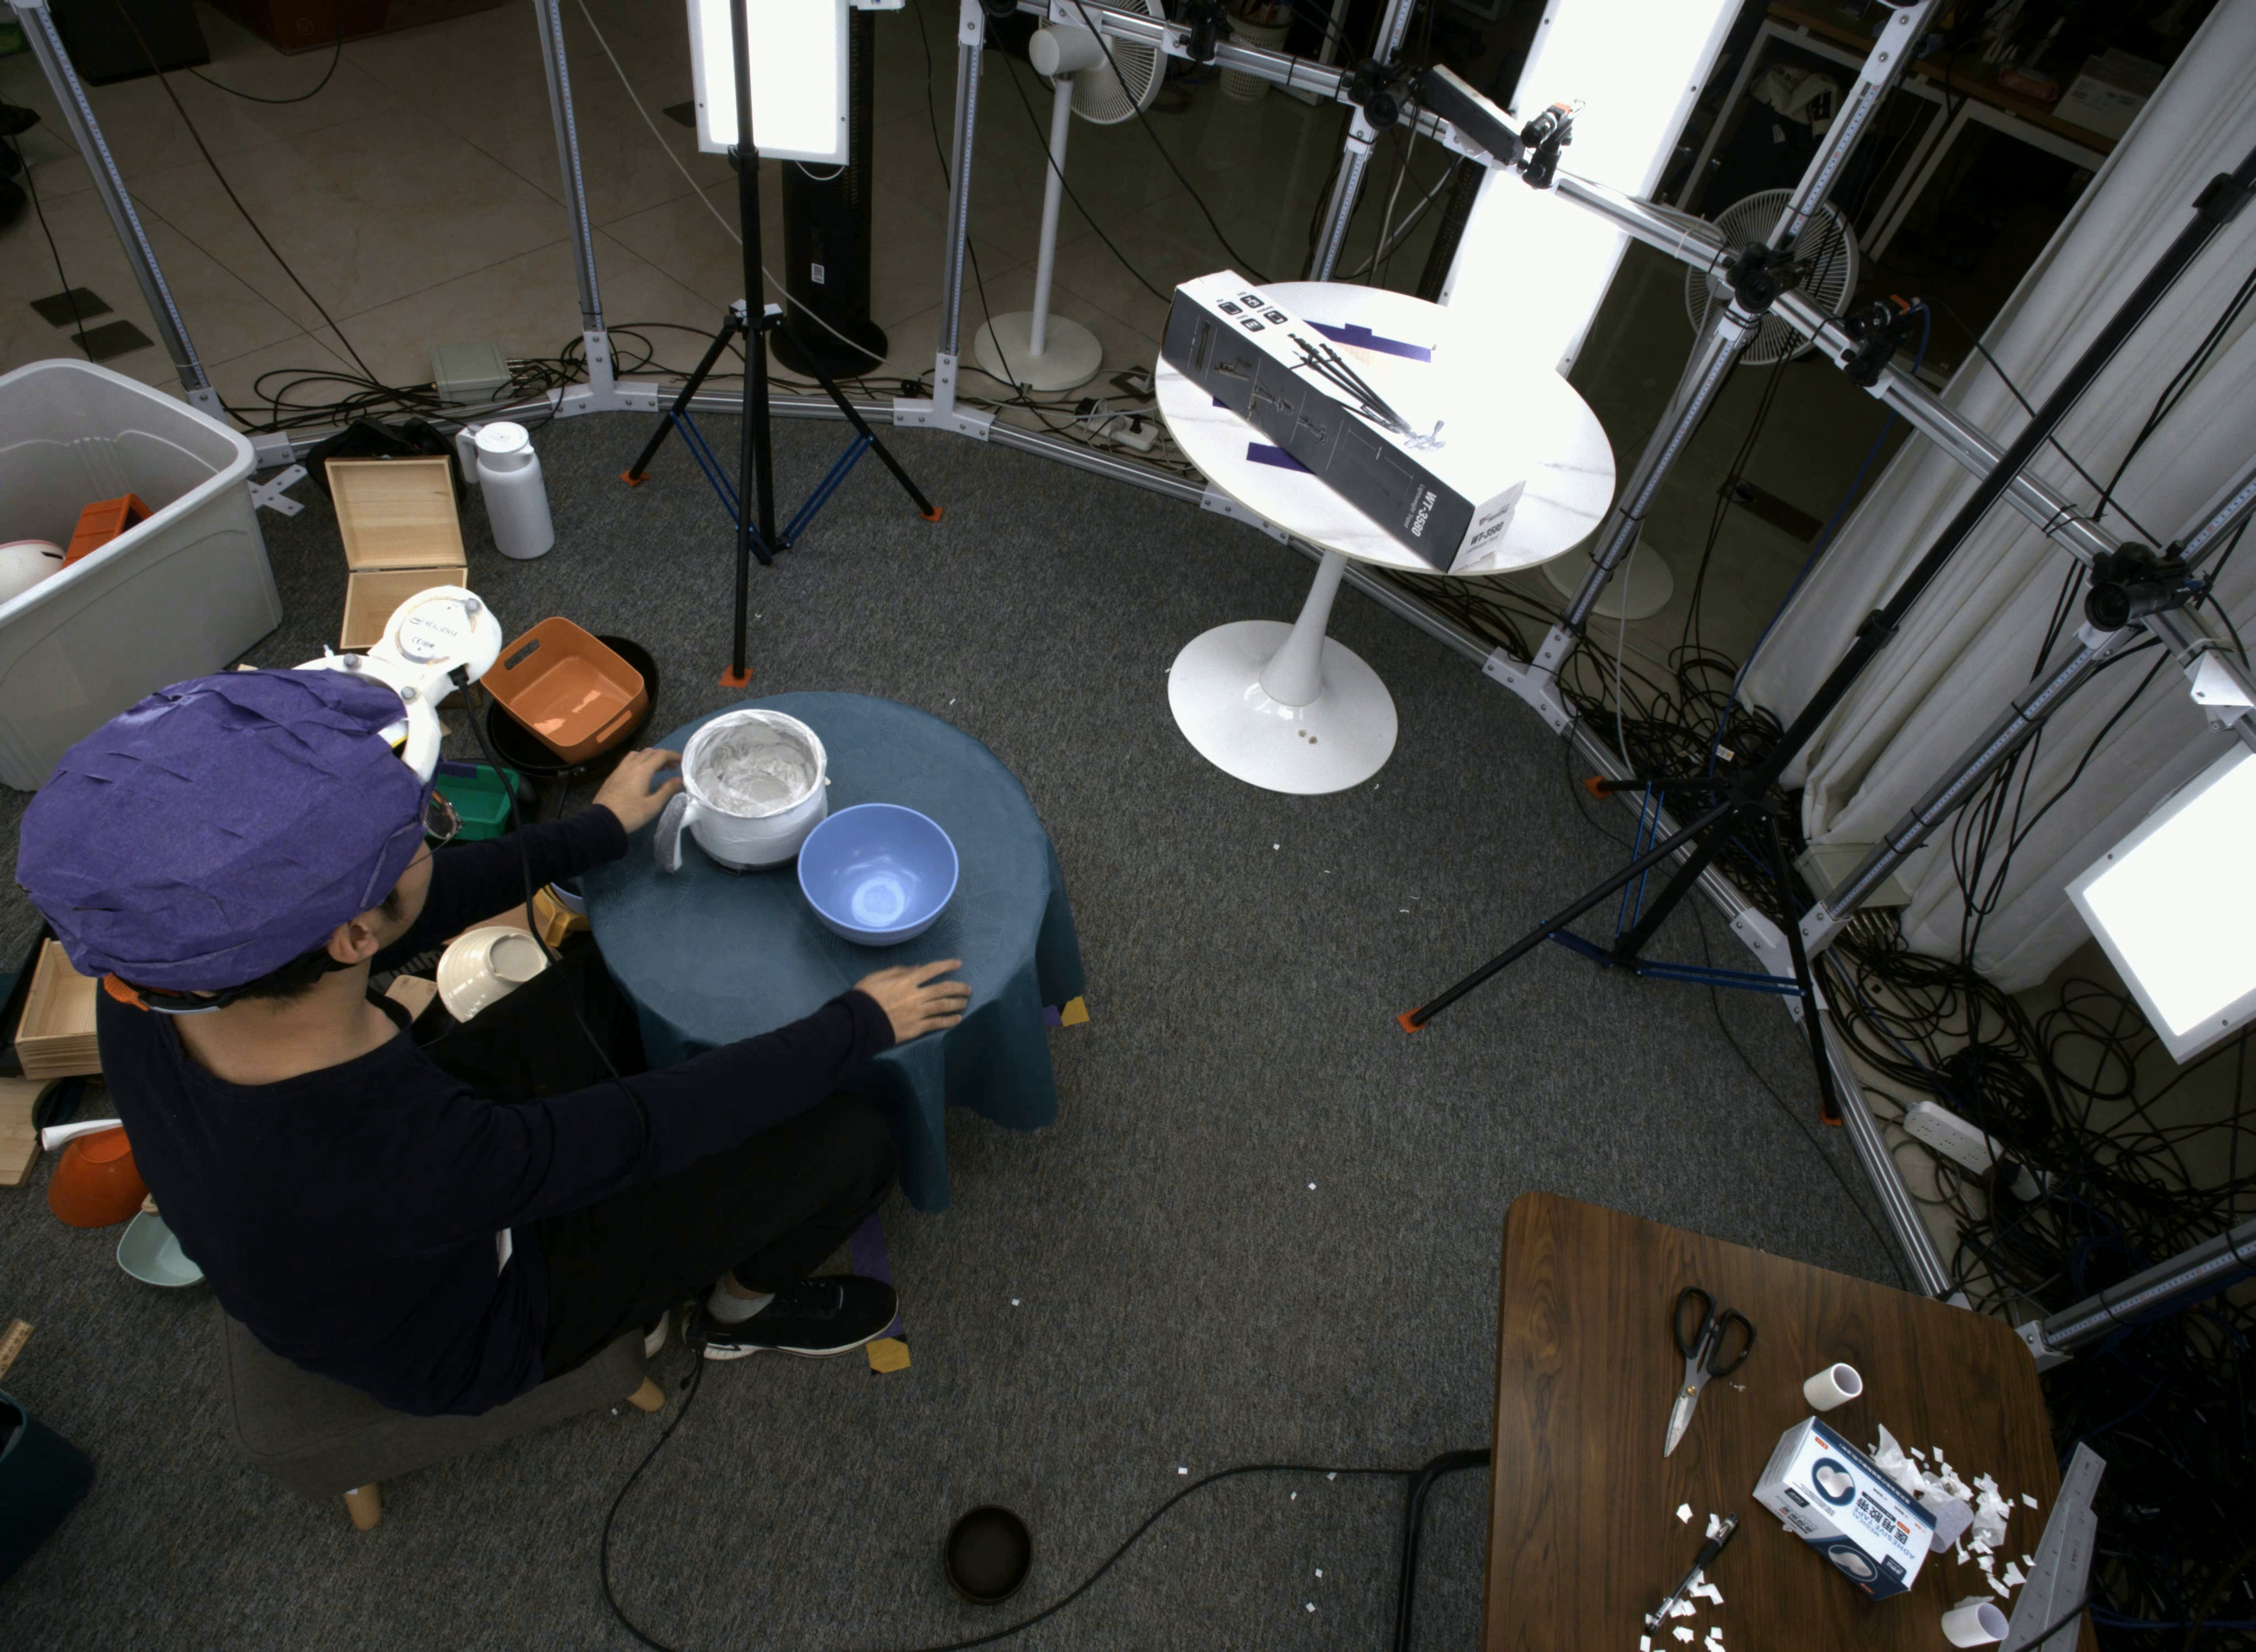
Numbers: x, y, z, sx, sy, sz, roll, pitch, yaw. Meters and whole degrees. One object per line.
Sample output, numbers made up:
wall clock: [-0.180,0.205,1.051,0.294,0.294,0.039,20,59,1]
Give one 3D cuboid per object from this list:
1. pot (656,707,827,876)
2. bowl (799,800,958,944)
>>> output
pot: [-0.498,-0.031,1.650,0.174,0.140,0.234,41,54,21]
bowl: [-0.317,0.073,1.646,0.196,0.097,0.193,9,52,-10]
